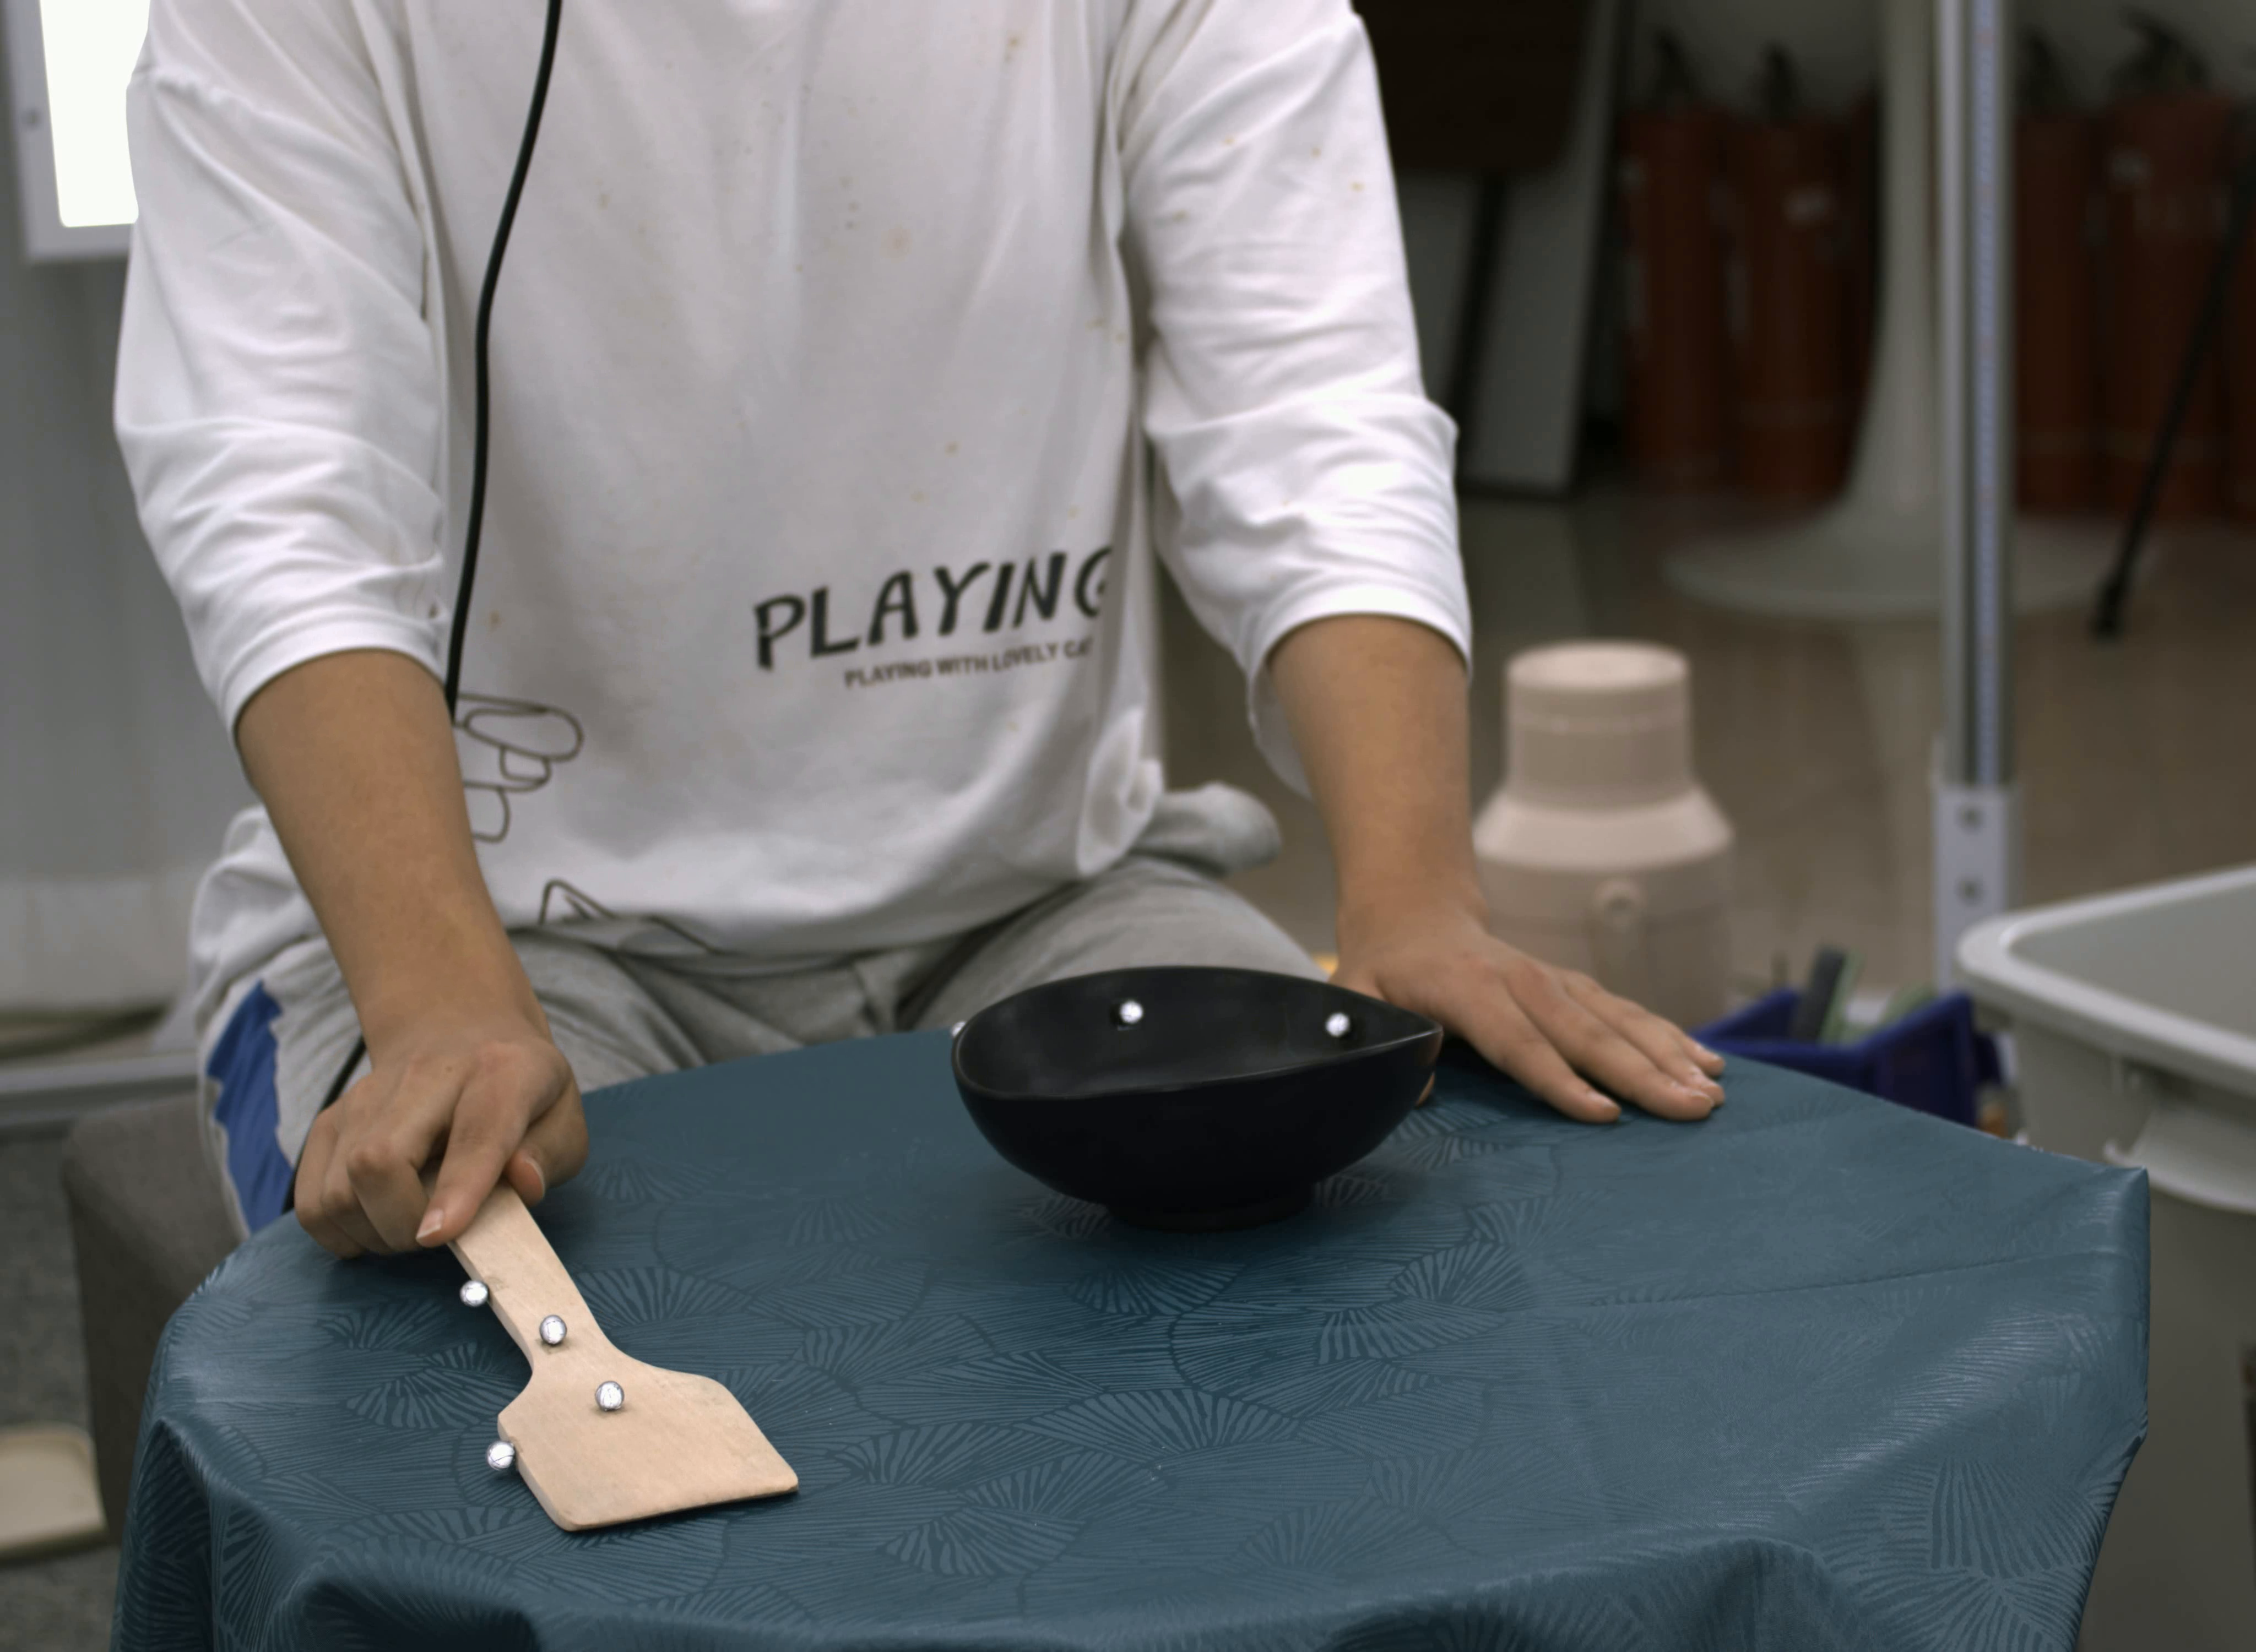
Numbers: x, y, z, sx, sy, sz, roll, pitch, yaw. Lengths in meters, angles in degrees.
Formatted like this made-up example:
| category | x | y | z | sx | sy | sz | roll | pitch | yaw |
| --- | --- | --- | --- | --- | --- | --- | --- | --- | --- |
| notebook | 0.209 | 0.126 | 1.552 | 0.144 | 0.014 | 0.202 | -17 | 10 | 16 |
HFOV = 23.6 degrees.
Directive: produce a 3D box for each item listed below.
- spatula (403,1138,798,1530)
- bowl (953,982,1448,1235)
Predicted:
| category | x | y | z | sx | sy | sz | roll | pitch | yaw |
| --- | --- | --- | --- | --- | --- | --- | --- | --- | --- |
| spatula | -0.175 | 0.149 | 1.638 | 0.071 | 0.011 | 0.296 | -9 | 20 | -19 |
| bowl | 0.024 | 0.093 | 1.751 | 0.166 | 0.067 | 0.139 | -9 | 13 | -29 |
